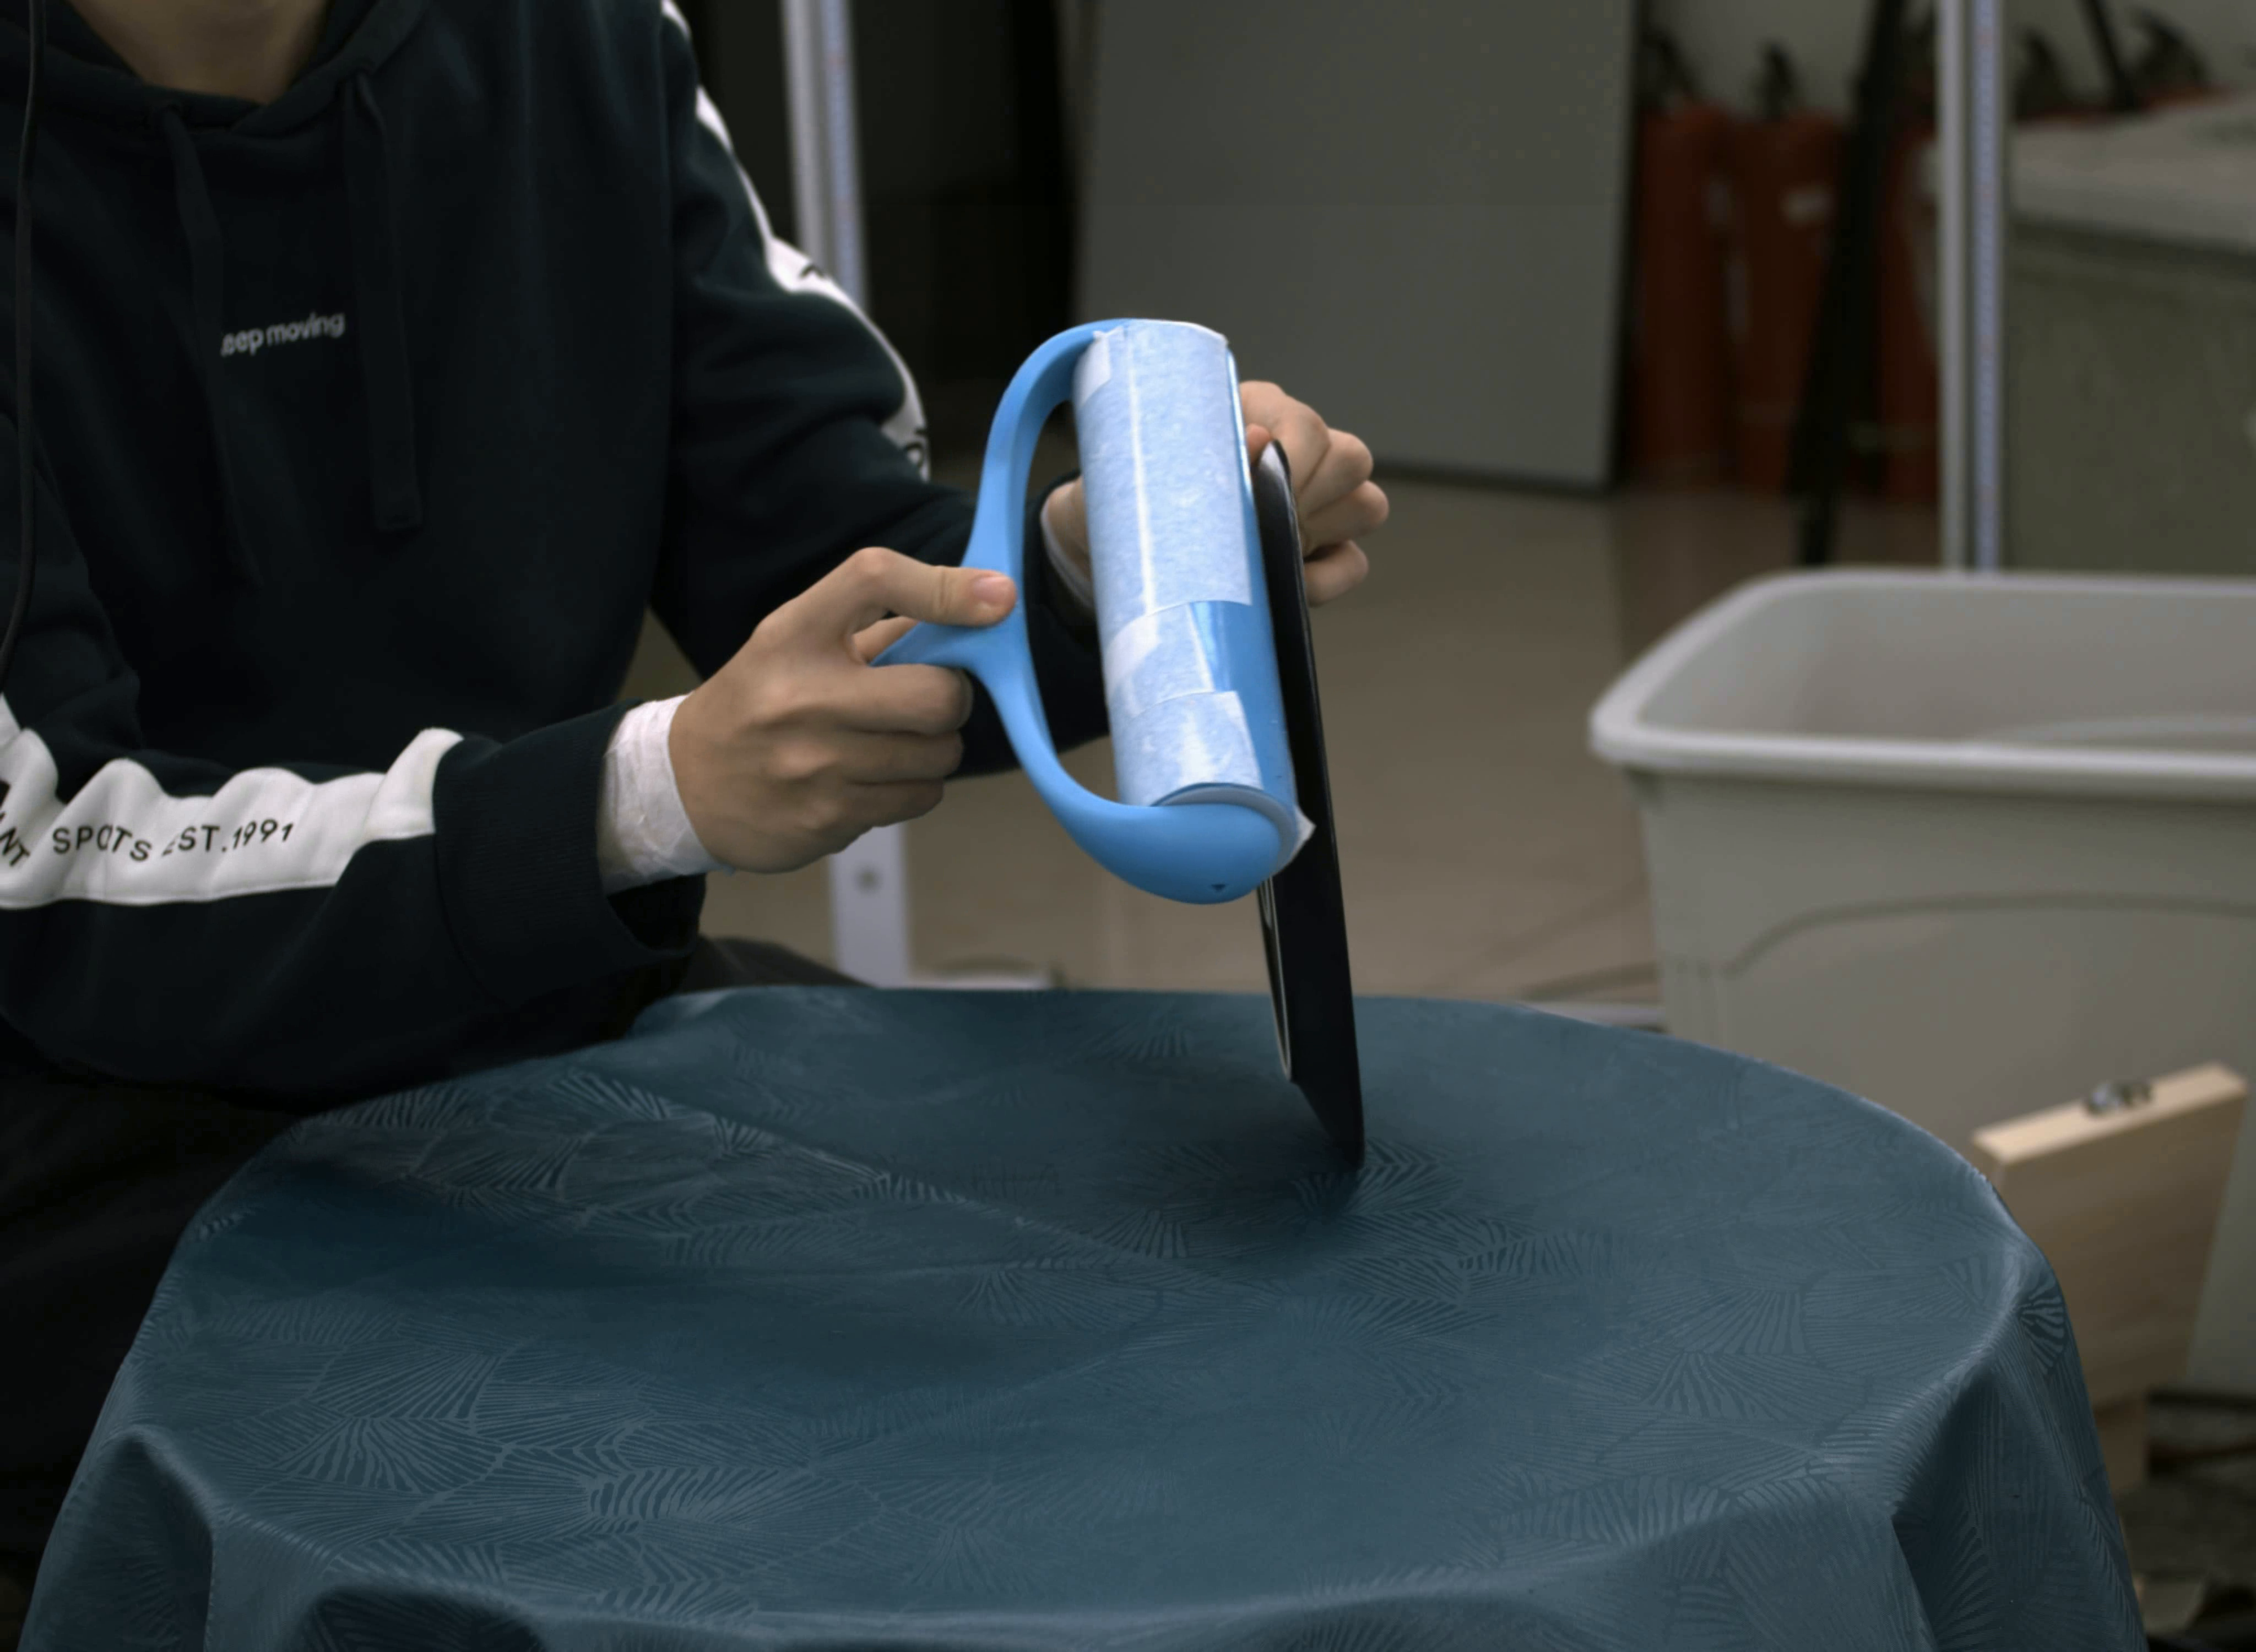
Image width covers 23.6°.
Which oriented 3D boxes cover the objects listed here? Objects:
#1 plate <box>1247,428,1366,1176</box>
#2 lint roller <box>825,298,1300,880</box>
[{"bbox_3d":[0.052,-0.007,1.769,0.023,0.247,0.245,-7,13,-1],"label":"plate"},{"bbox_3d":[-0.035,-0.051,1.690,0.180,0.067,0.231,-27,47,19],"label":"lint roller"}]
